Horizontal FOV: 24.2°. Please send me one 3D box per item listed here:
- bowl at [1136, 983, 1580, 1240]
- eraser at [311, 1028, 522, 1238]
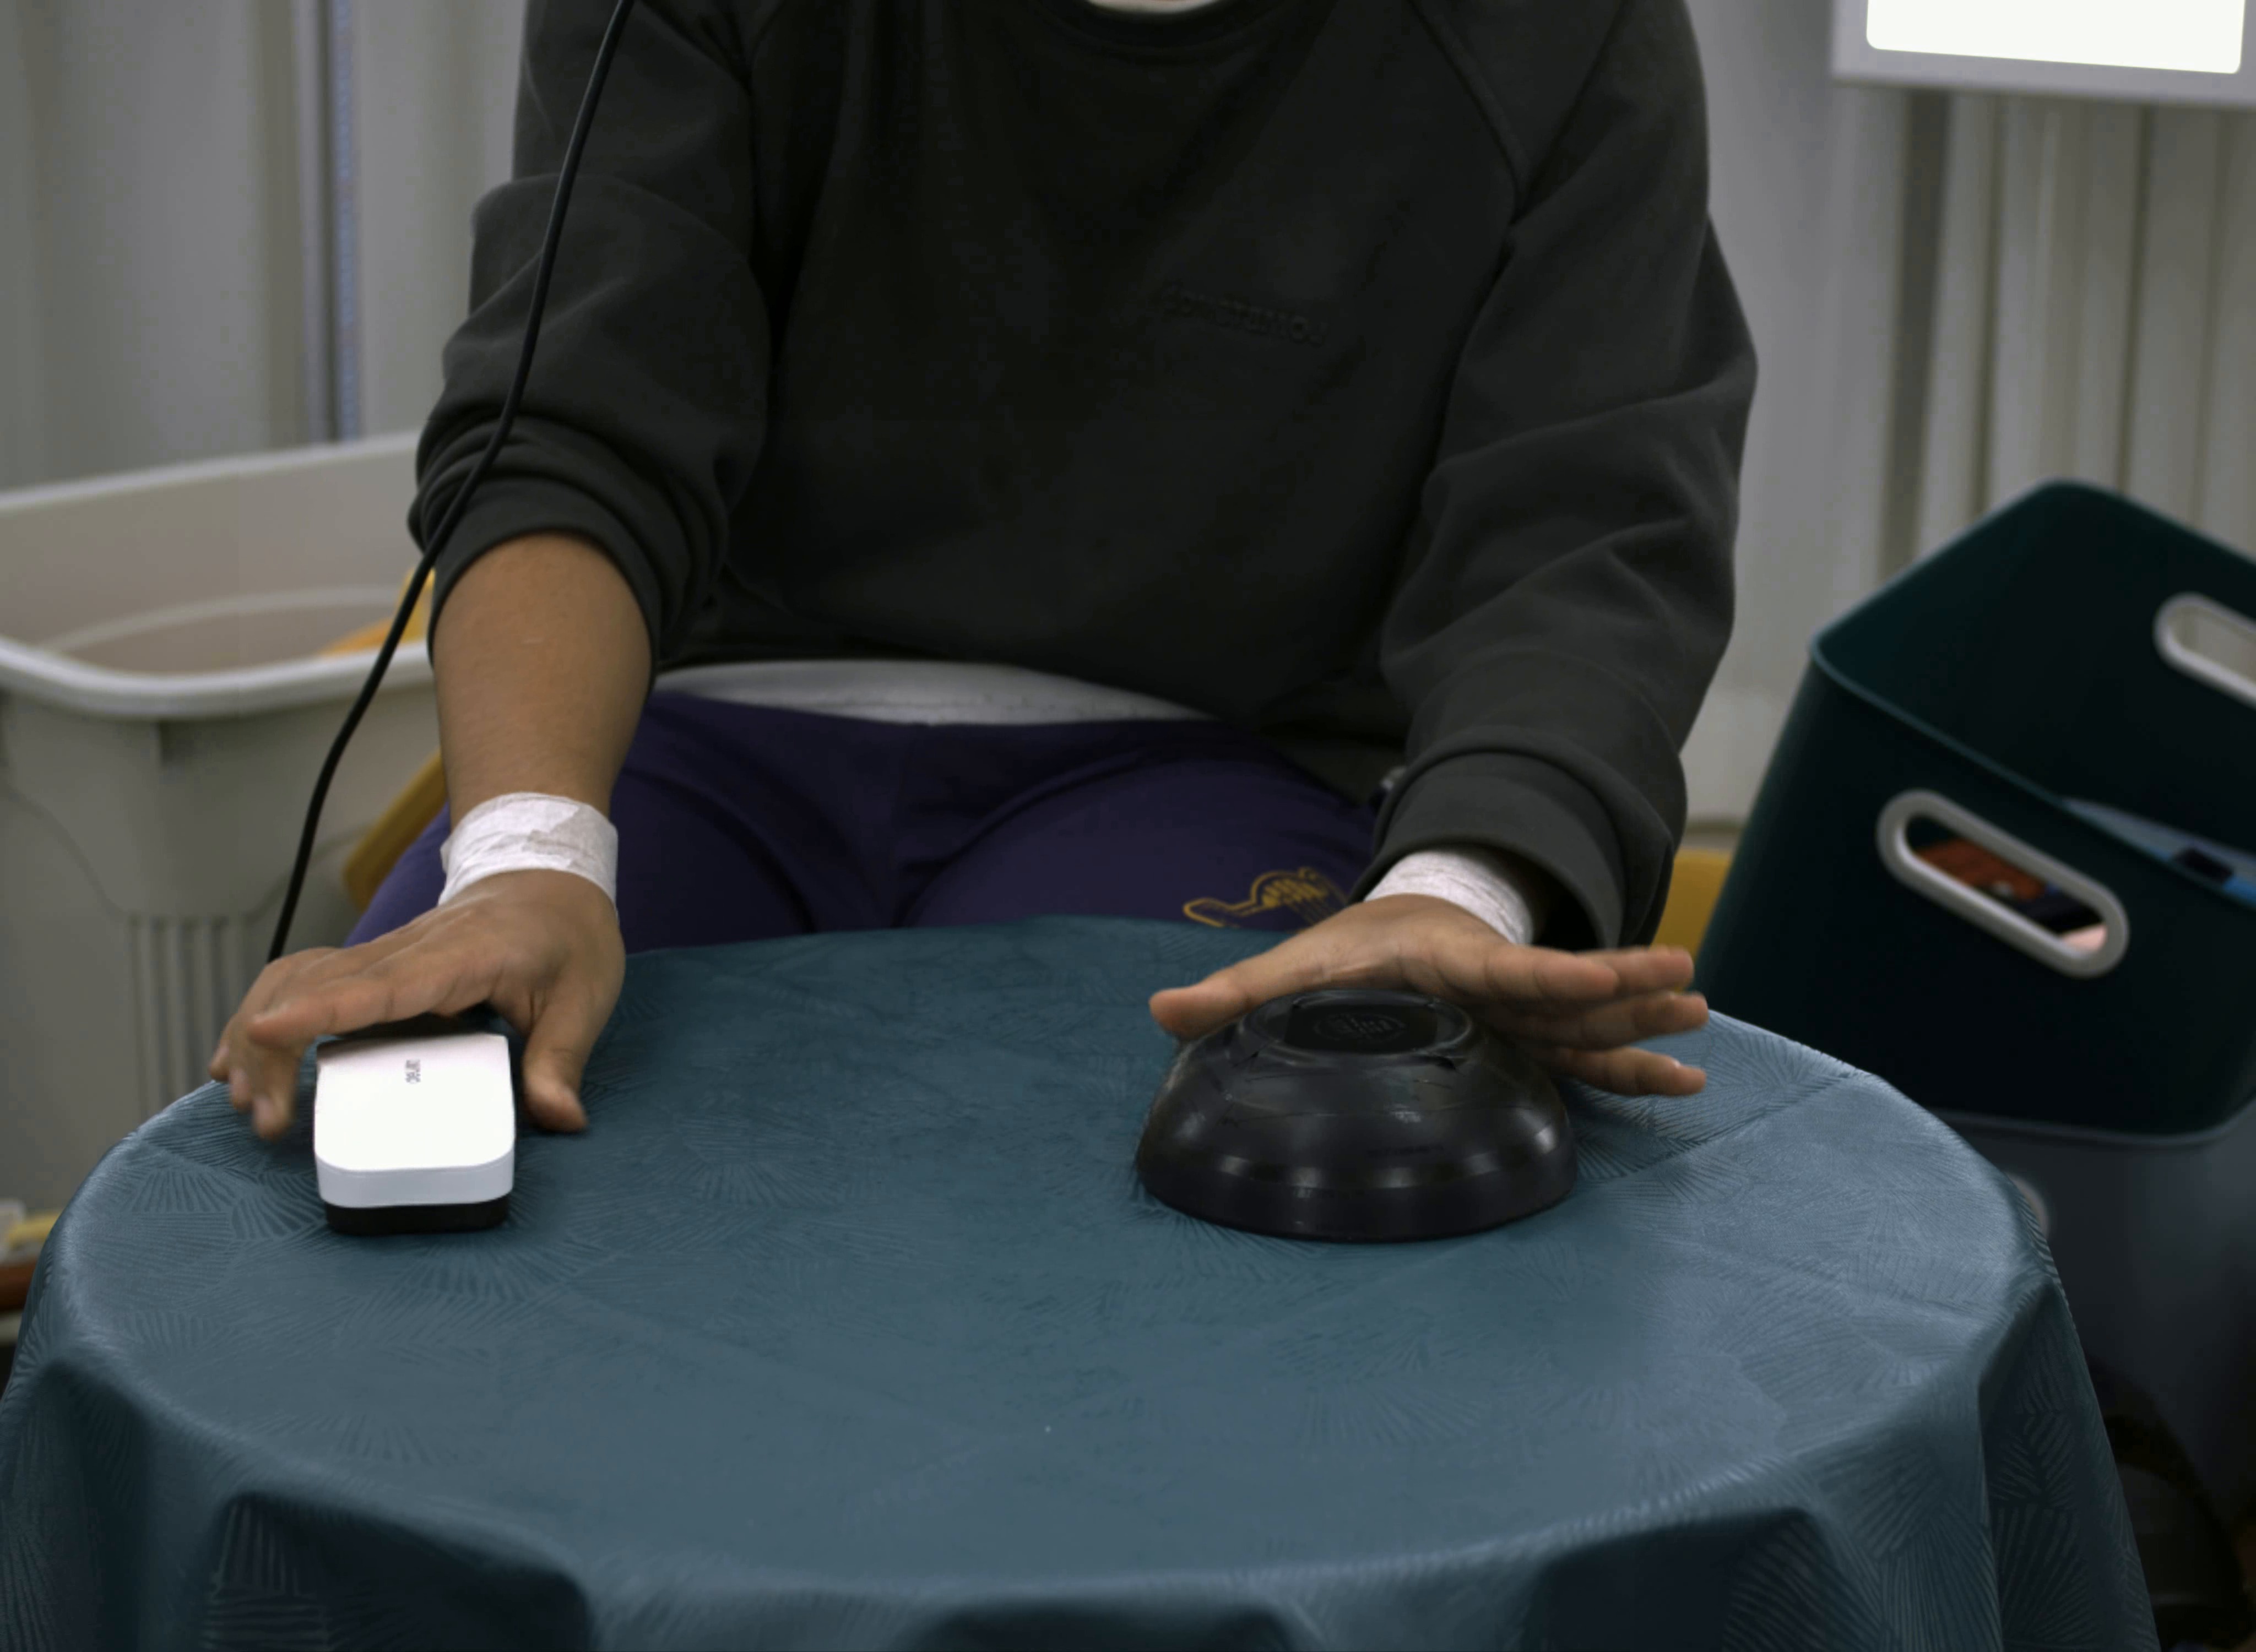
[{"bbox_3d":[0.071,0.082,1.637,0.139,0.050,0.139,-1,17,1],"label":"bowl"},{"bbox_3d":[-0.220,0.091,1.632,0.063,0.035,0.130,0,17,-6],"label":"eraser"}]
